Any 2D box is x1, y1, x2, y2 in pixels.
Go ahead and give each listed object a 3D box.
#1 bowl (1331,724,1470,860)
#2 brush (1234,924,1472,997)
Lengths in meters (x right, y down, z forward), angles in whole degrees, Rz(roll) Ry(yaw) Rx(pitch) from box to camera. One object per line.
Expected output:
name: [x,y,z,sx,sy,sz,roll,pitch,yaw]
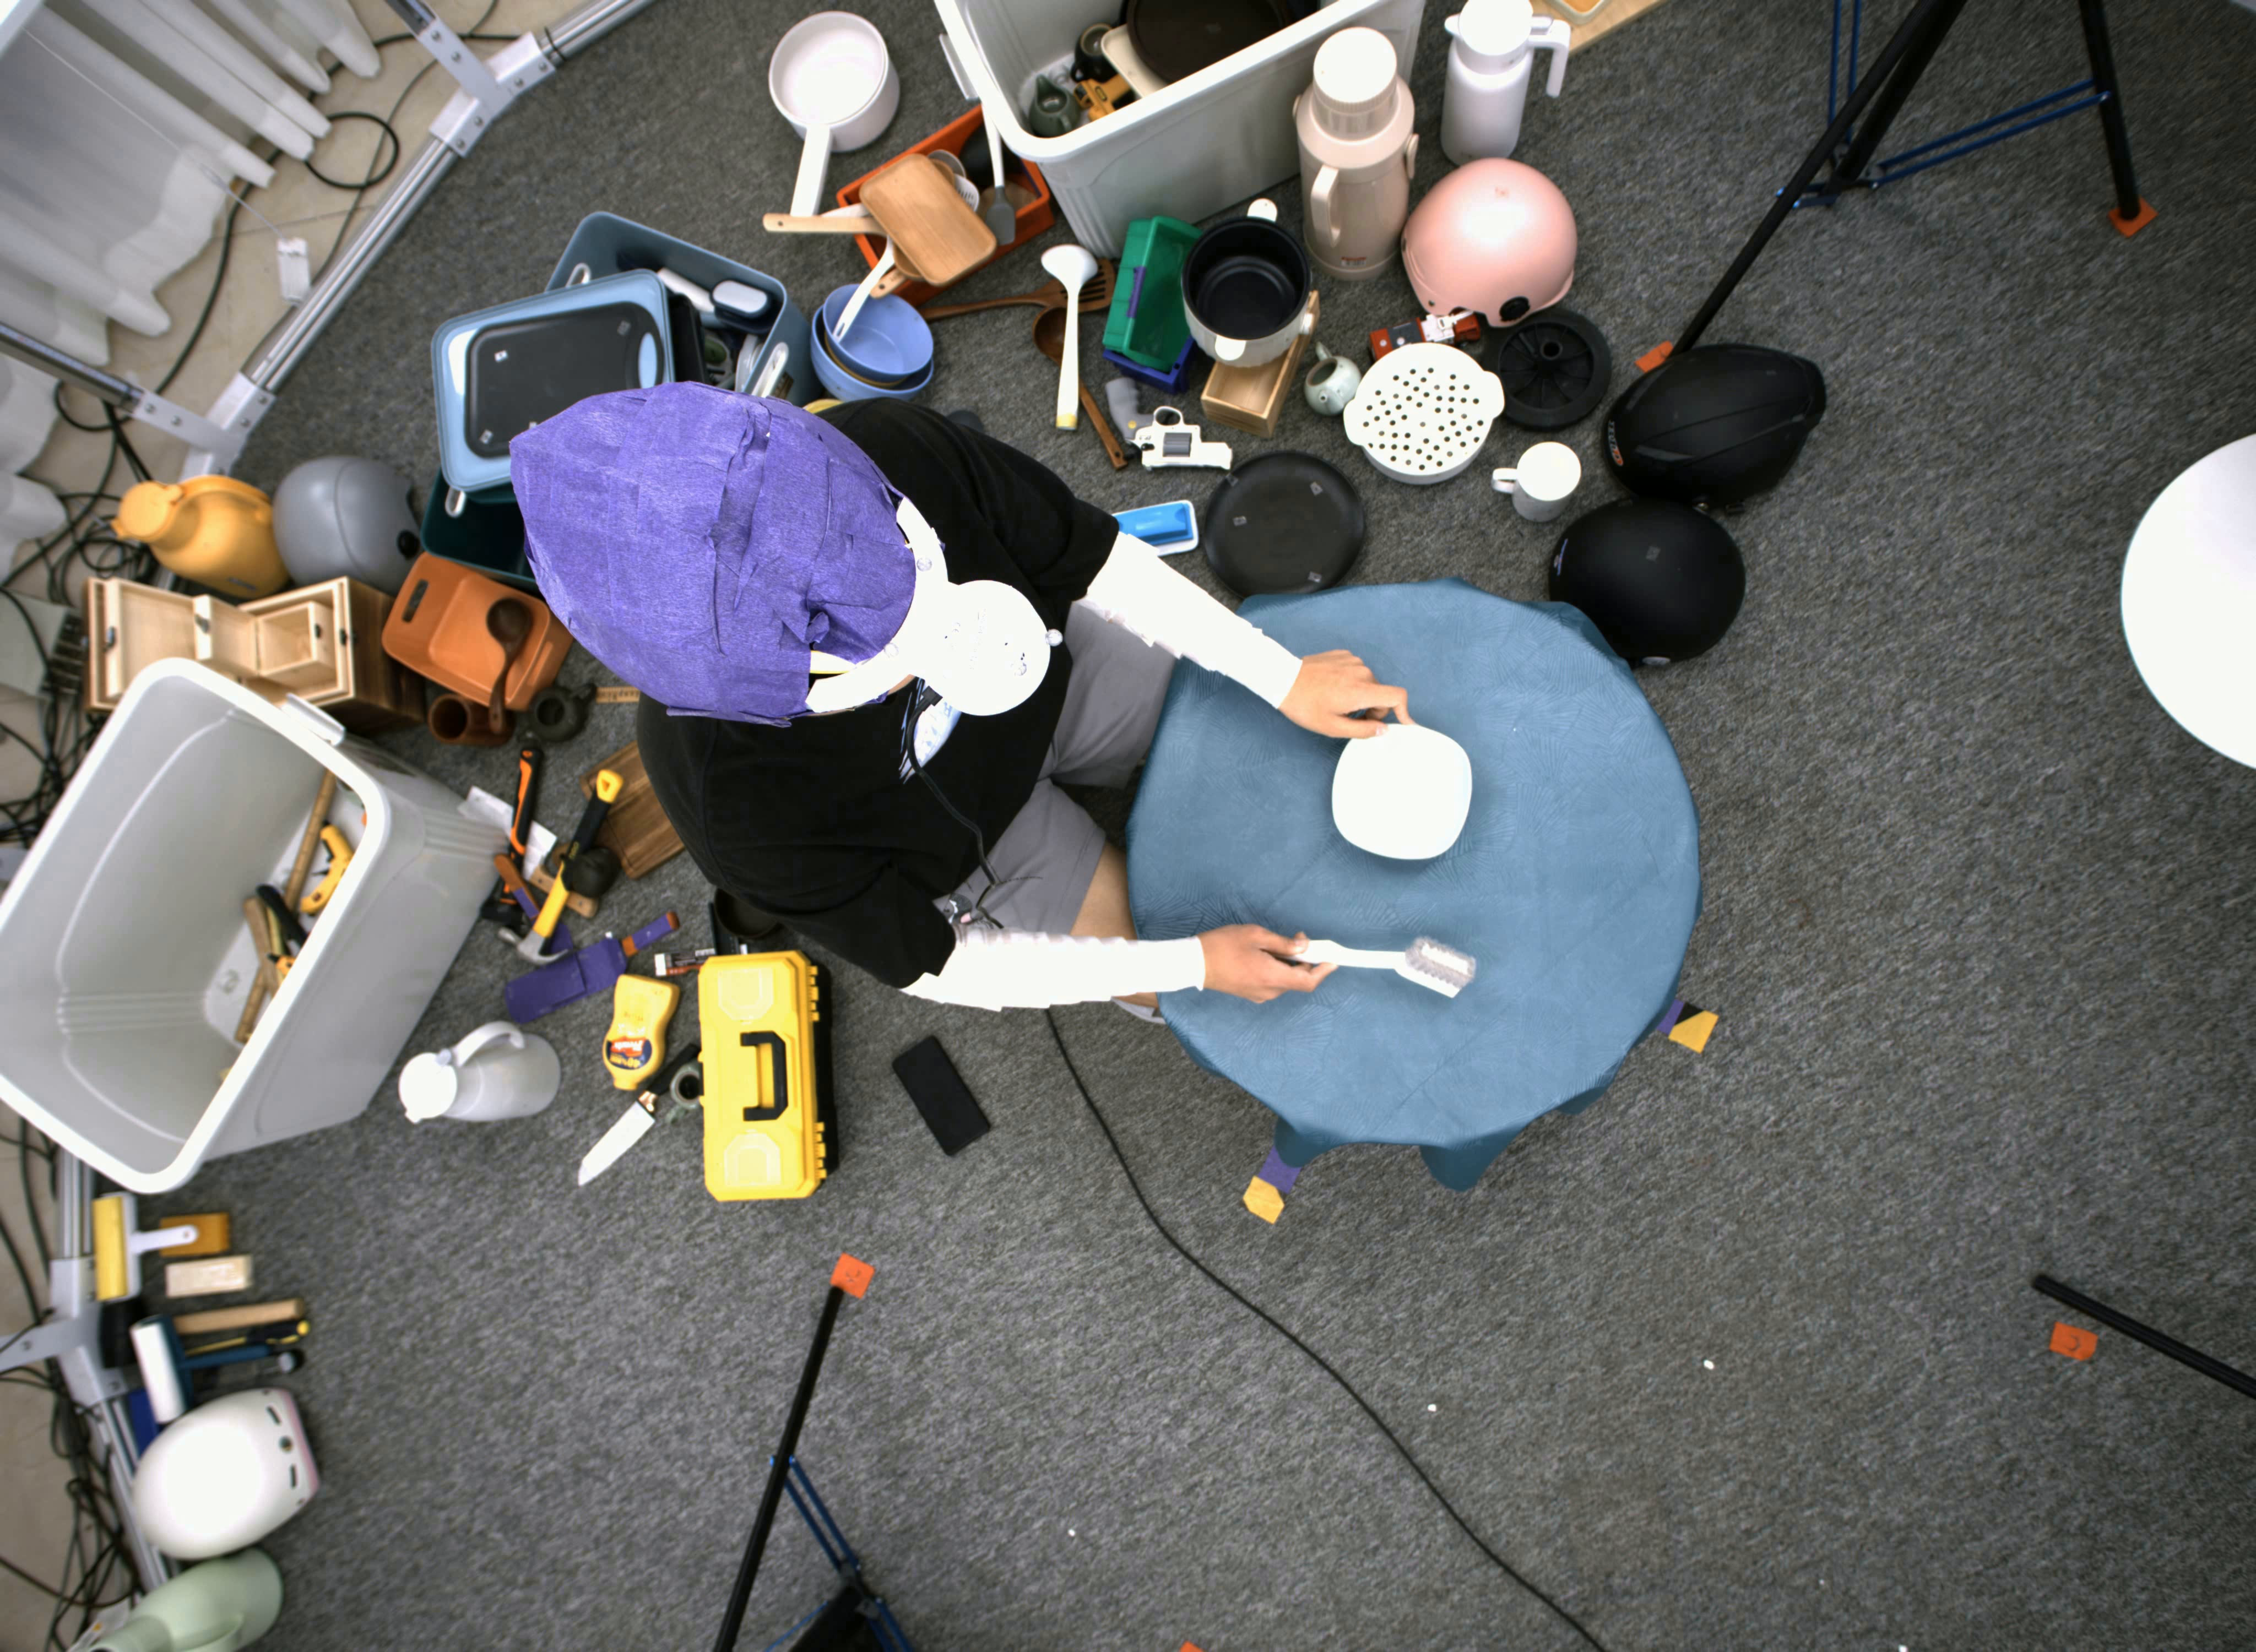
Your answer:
bowl: [0.283,-0.033,1.433,0.152,0.059,0.150,-1,85,10]
brush: [0.226,0.120,1.404,0.244,0.051,0.033,13,46,16]
